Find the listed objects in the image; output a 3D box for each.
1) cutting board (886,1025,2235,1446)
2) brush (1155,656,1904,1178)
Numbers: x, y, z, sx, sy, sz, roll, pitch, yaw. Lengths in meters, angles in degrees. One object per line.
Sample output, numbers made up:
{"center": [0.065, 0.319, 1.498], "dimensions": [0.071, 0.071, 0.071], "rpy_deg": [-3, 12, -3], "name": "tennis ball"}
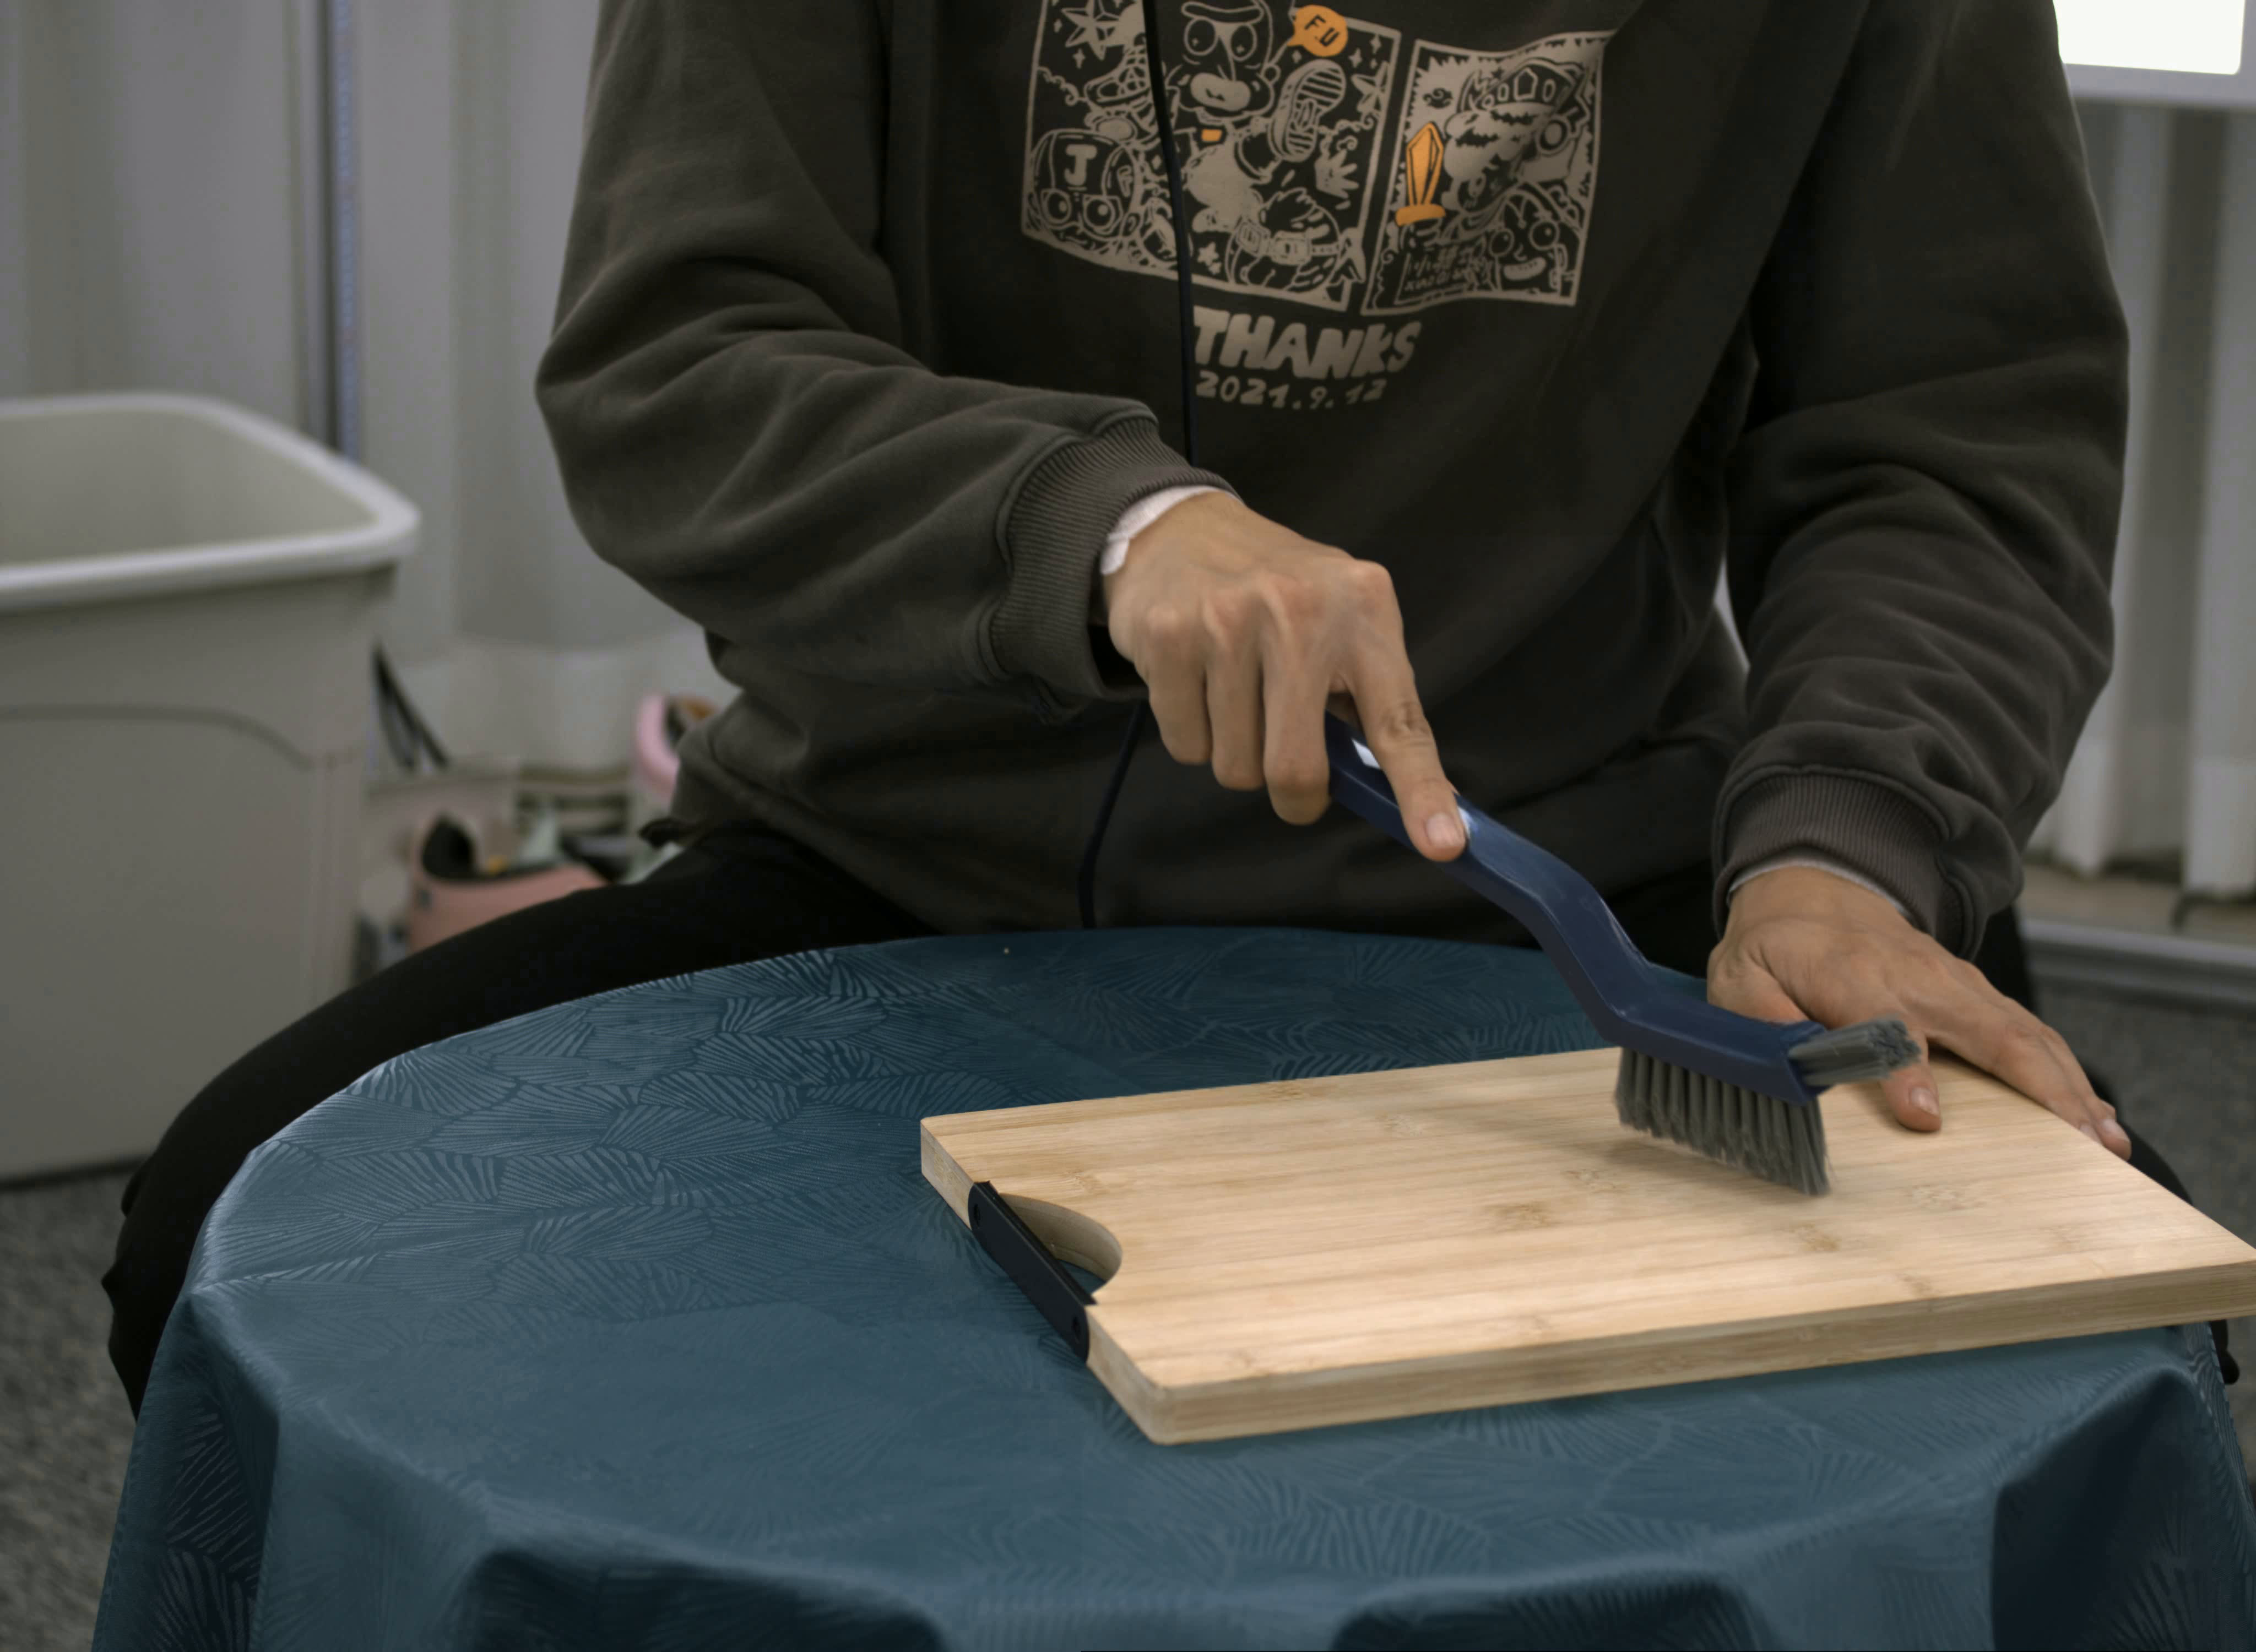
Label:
{"center": [0.125, 0.118, 1.586], "dimensions": [0.349, 0.024, 0.248], "rpy_deg": [-5, 16, -19], "name": "cutting board"}
{"center": [0.119, 0.011, 1.616], "dimensions": [0.270, 0.096, 0.033], "rpy_deg": [41, 46, 23], "name": "brush"}
